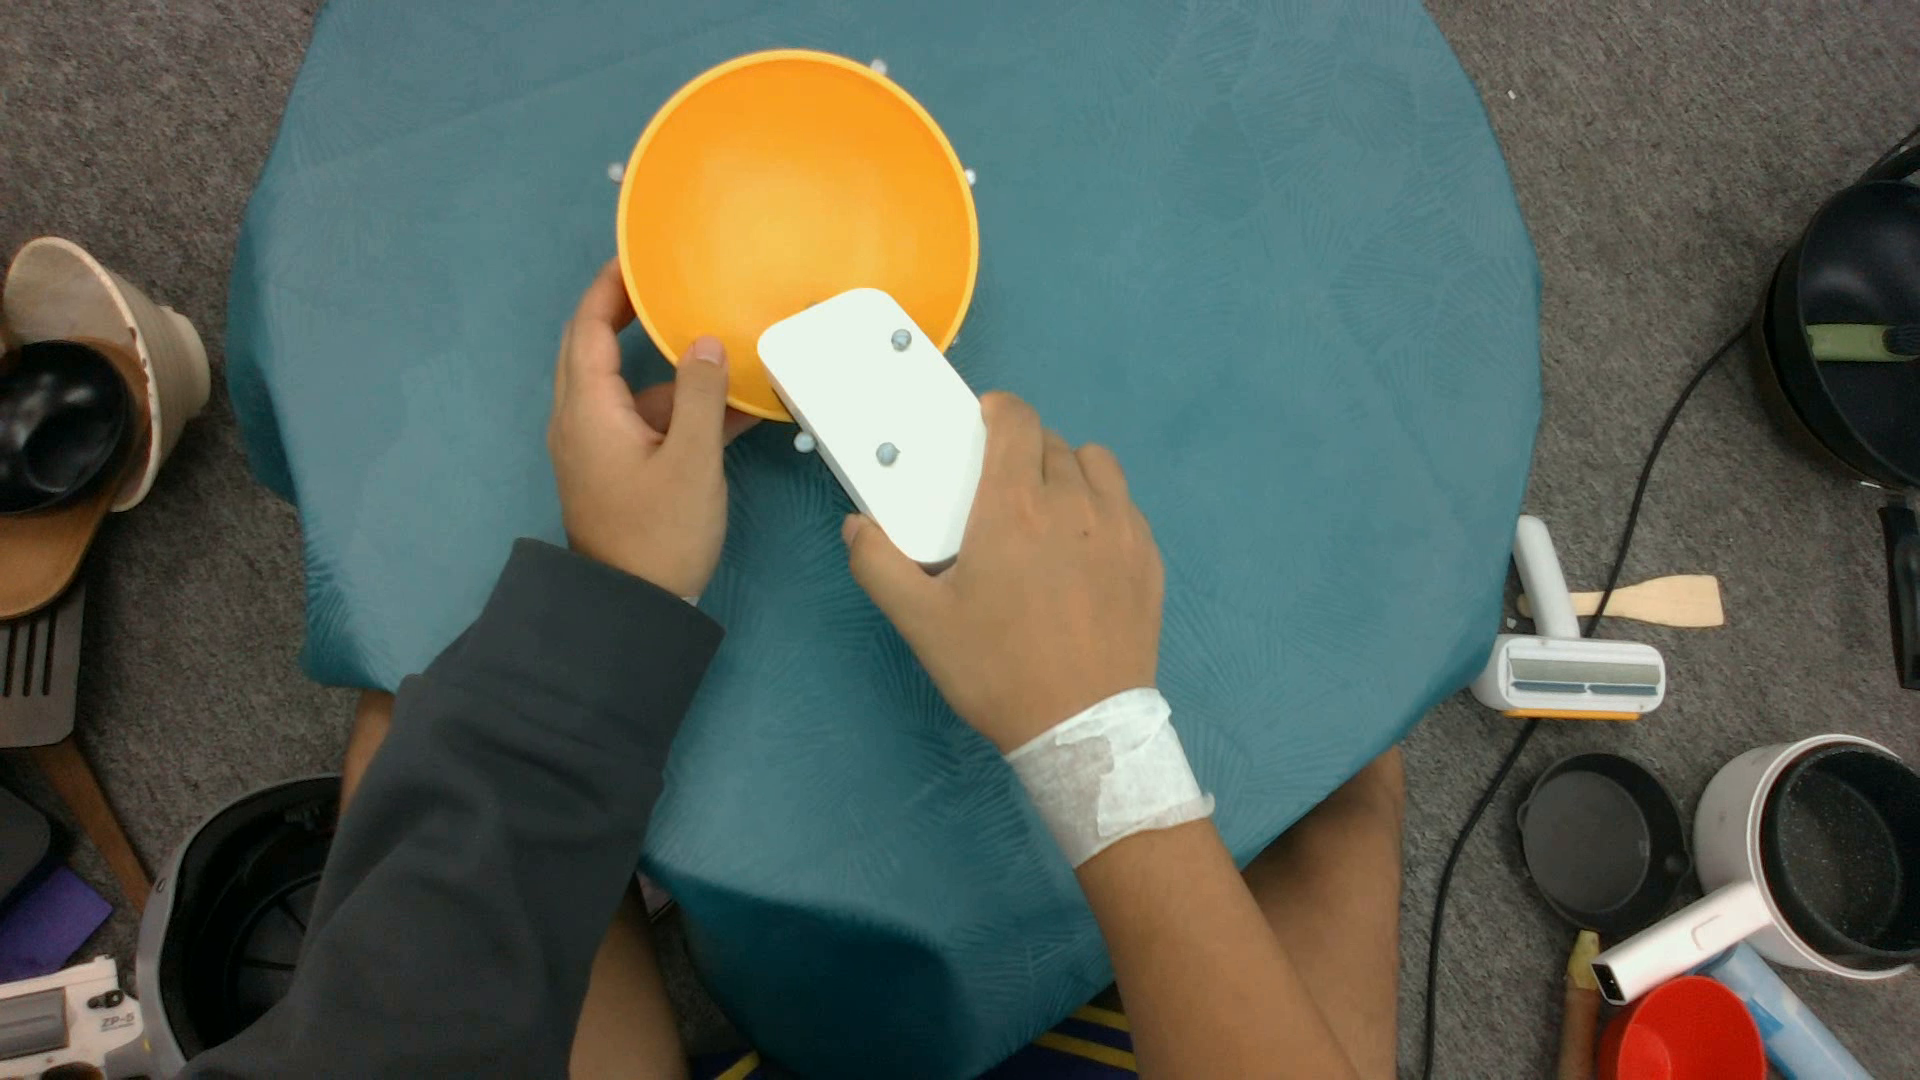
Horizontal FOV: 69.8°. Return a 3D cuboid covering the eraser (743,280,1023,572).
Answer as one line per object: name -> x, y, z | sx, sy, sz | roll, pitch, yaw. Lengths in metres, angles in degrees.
eraser -> -0.033, -0.047, 0.541 | 0.063, 0.034, 0.131 | -28, 62, -17

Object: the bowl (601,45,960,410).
bowl -> -0.077, -0.130, 0.580 | 0.145, 0.060, 0.145 | -4, 105, -15
